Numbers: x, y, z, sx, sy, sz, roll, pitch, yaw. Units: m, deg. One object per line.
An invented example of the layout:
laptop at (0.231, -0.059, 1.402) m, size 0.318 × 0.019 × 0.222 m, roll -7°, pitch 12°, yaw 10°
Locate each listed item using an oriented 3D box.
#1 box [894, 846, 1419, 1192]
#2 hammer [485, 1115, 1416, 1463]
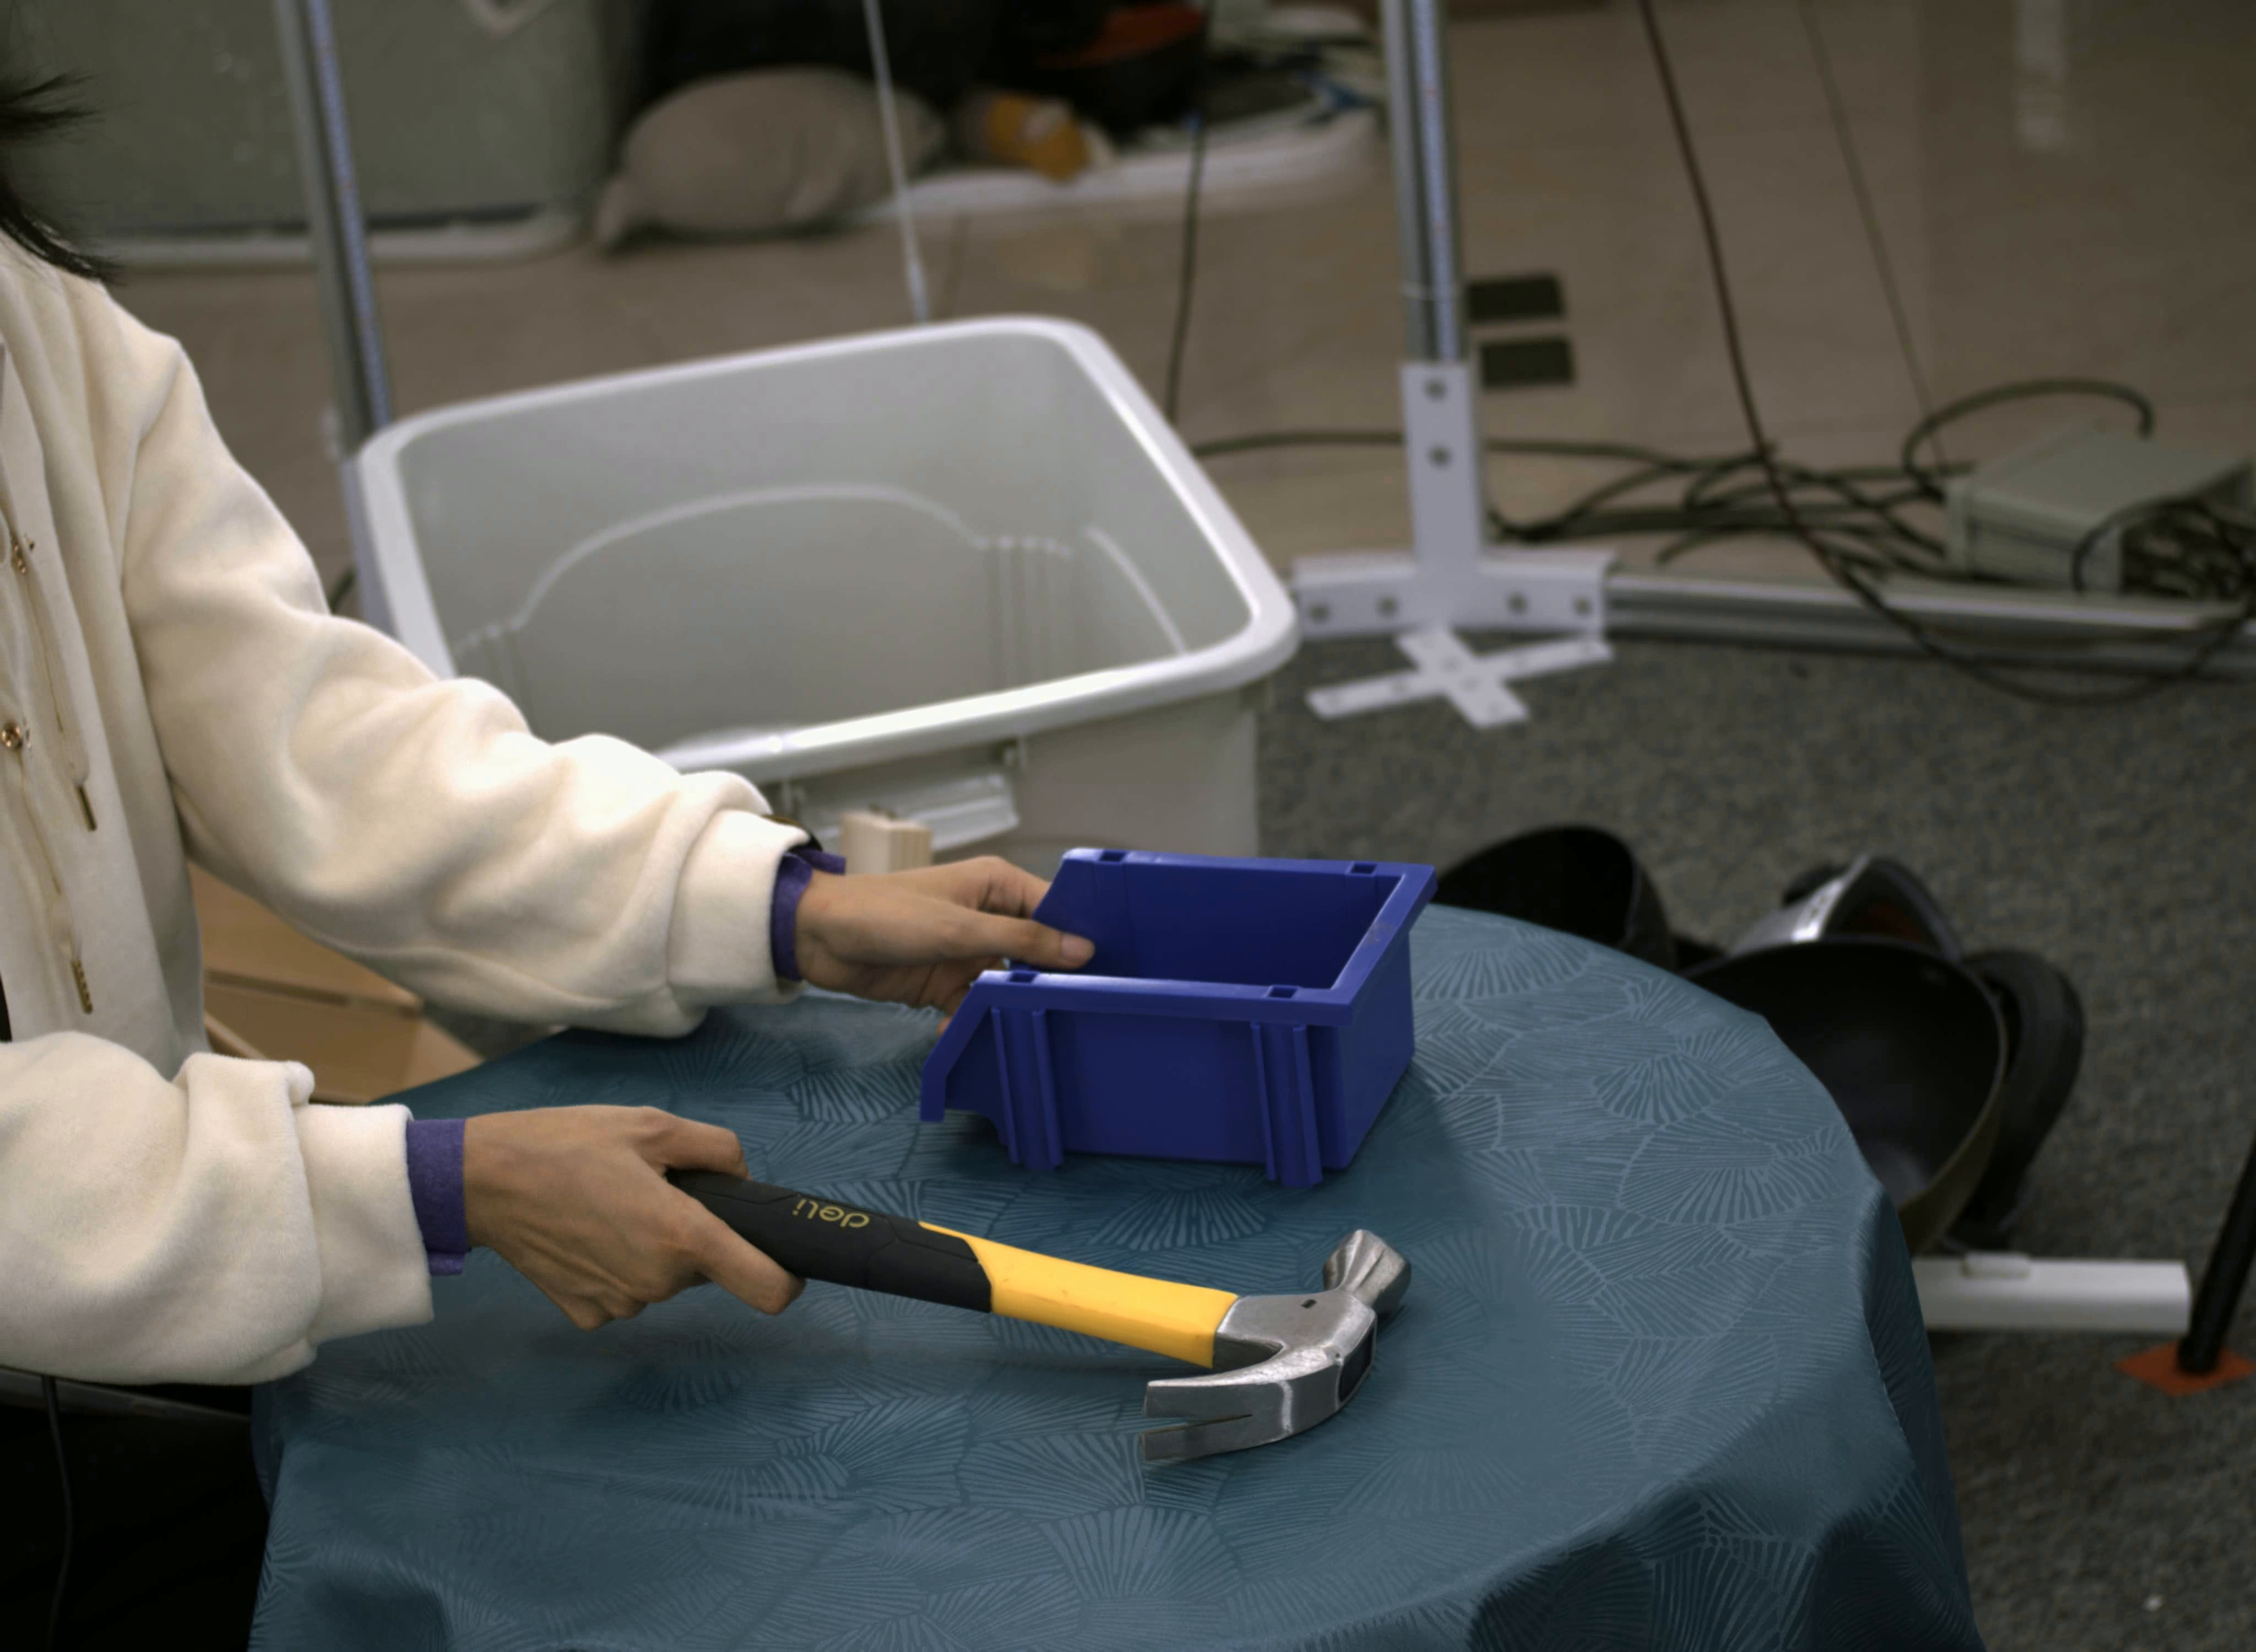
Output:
box at (0.011, 0.073, 2.191) m, size 0.179 × 0.083 × 0.123 m, roll 5°, pitch 28°, yaw 19°
hammer at (-0.075, 0.154, 2.039) m, size 0.337 × 0.033 × 0.129 m, roll 13°, pitch 32°, yaw 17°
